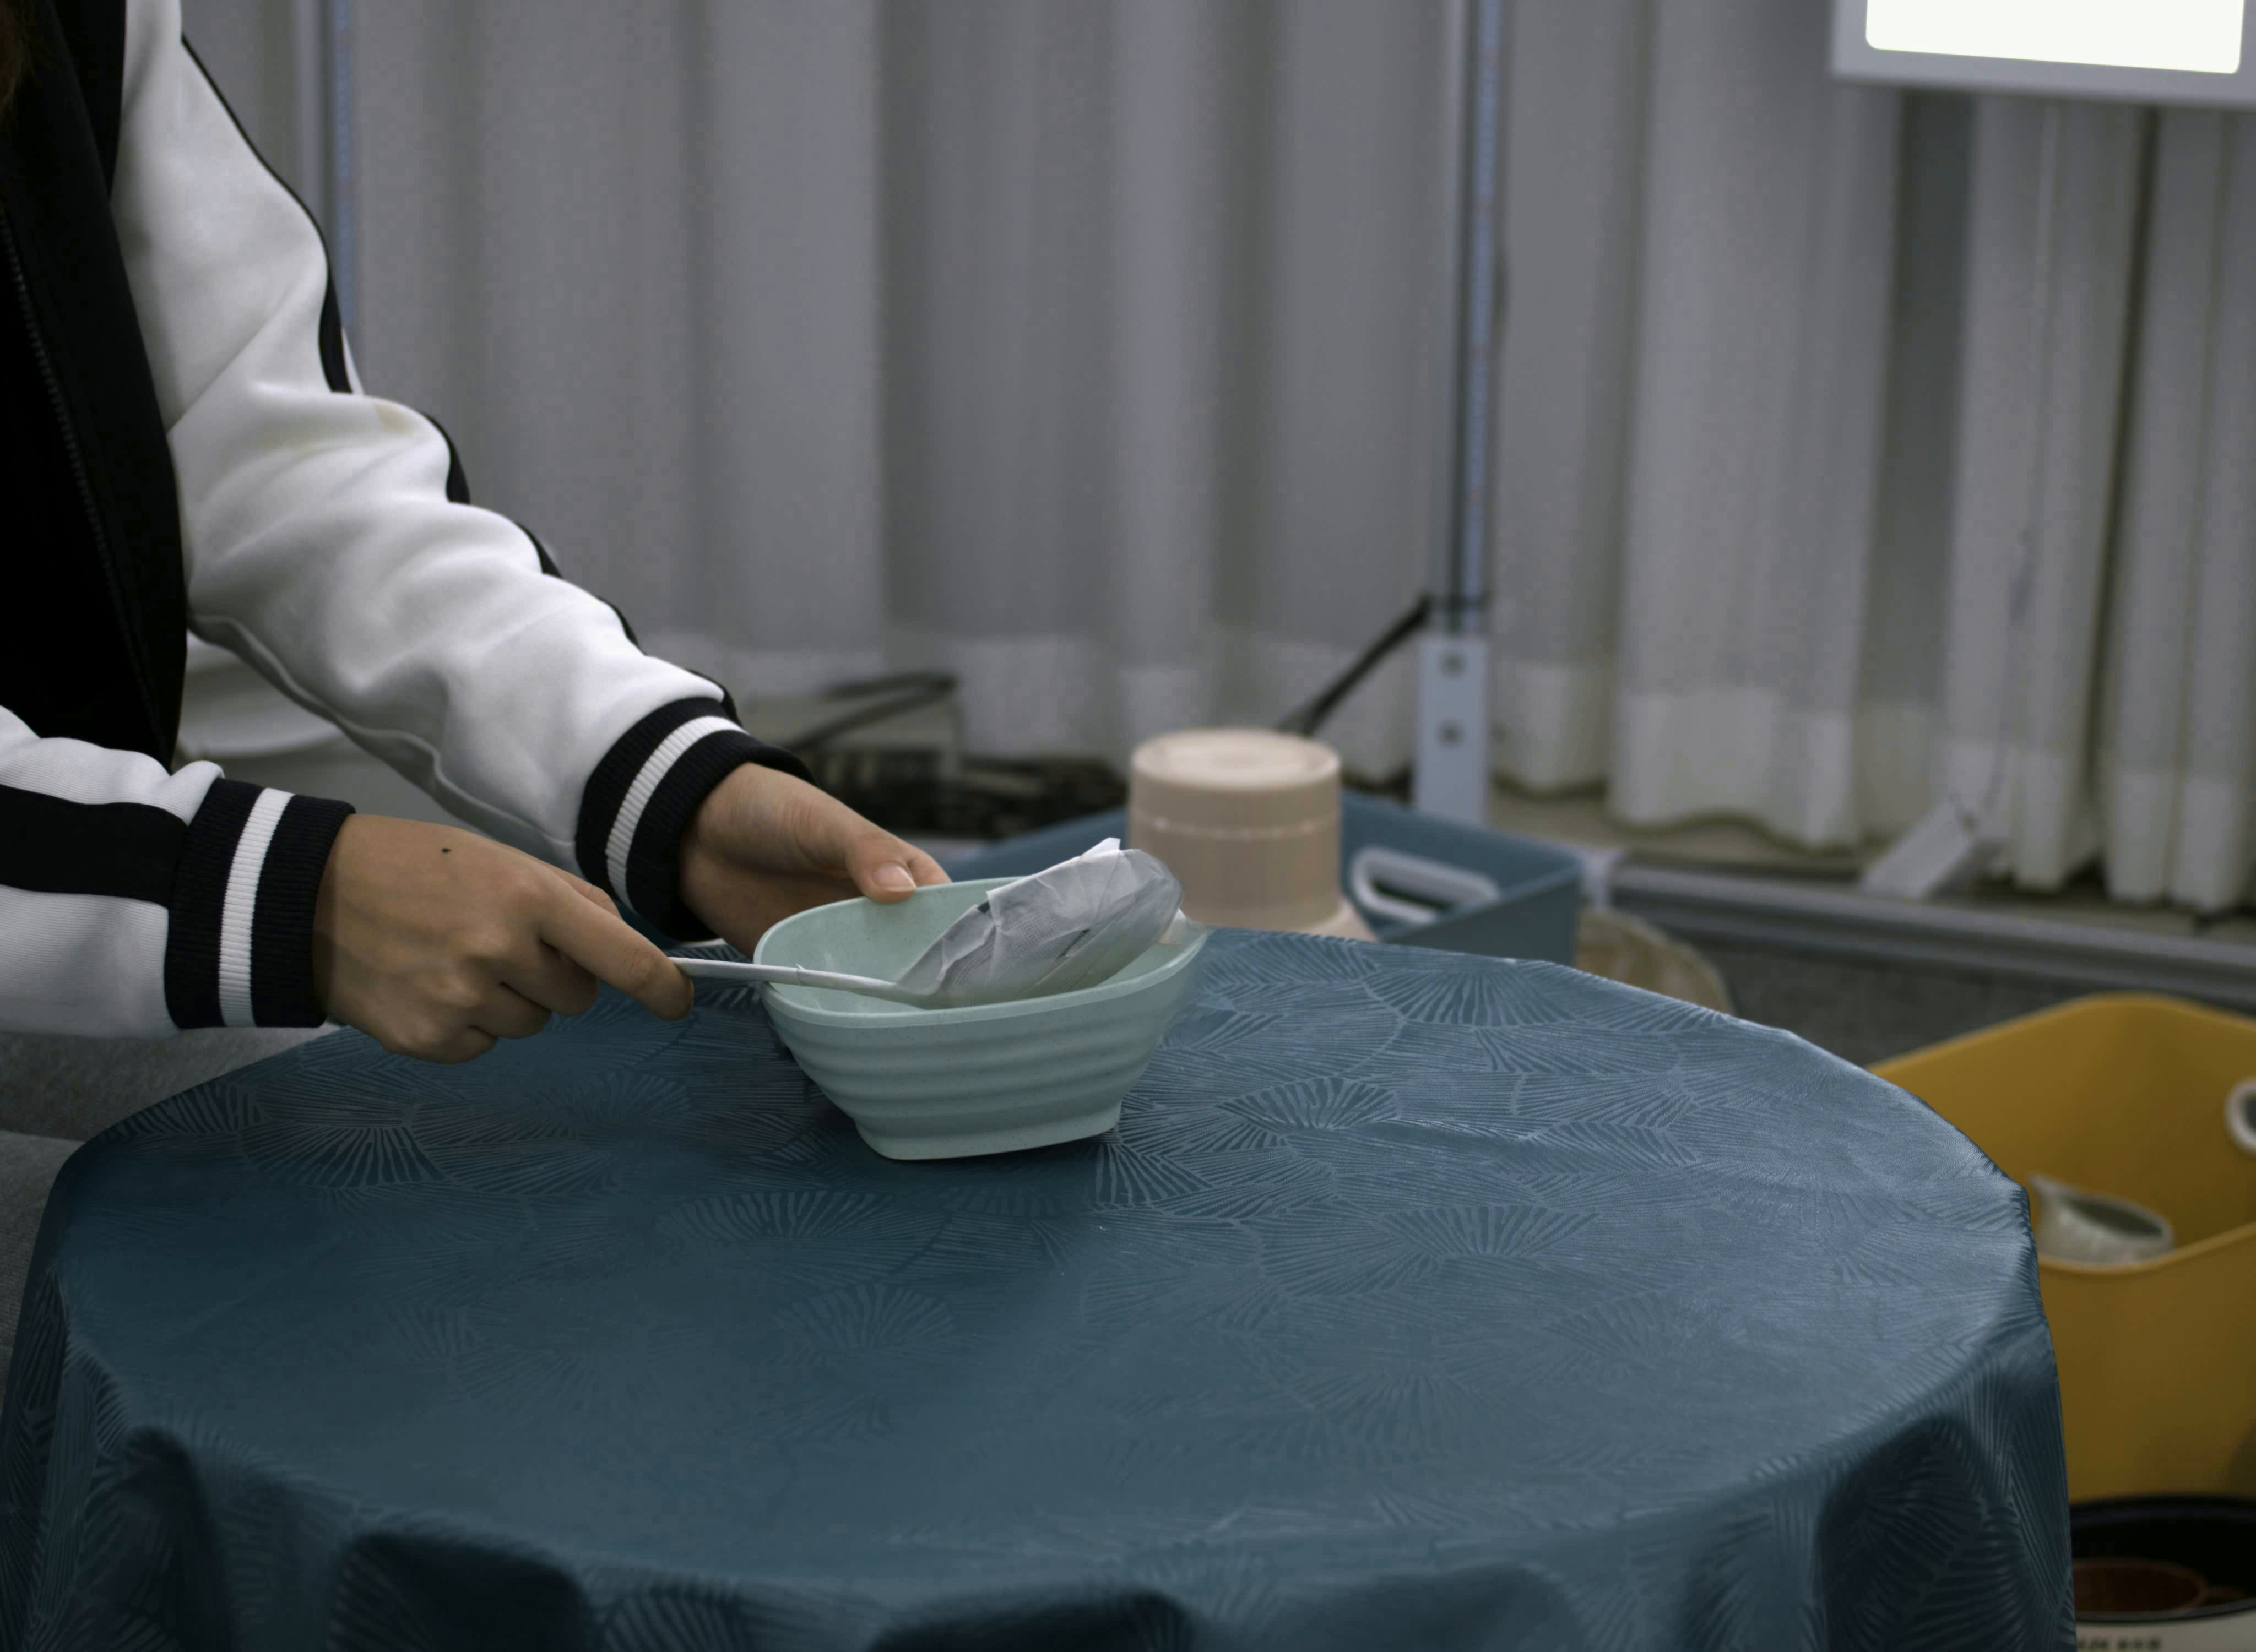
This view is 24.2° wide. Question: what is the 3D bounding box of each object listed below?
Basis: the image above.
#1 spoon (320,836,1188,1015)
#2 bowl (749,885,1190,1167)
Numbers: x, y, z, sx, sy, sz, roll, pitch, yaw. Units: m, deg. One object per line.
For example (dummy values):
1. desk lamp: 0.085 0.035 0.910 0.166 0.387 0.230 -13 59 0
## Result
1. spoon: -0.119 0.025 1.653 0.275 0.059 0.102 5 -22 15
2. bowl: -0.048 0.066 1.674 0.151 0.059 0.150 -4 16 2
